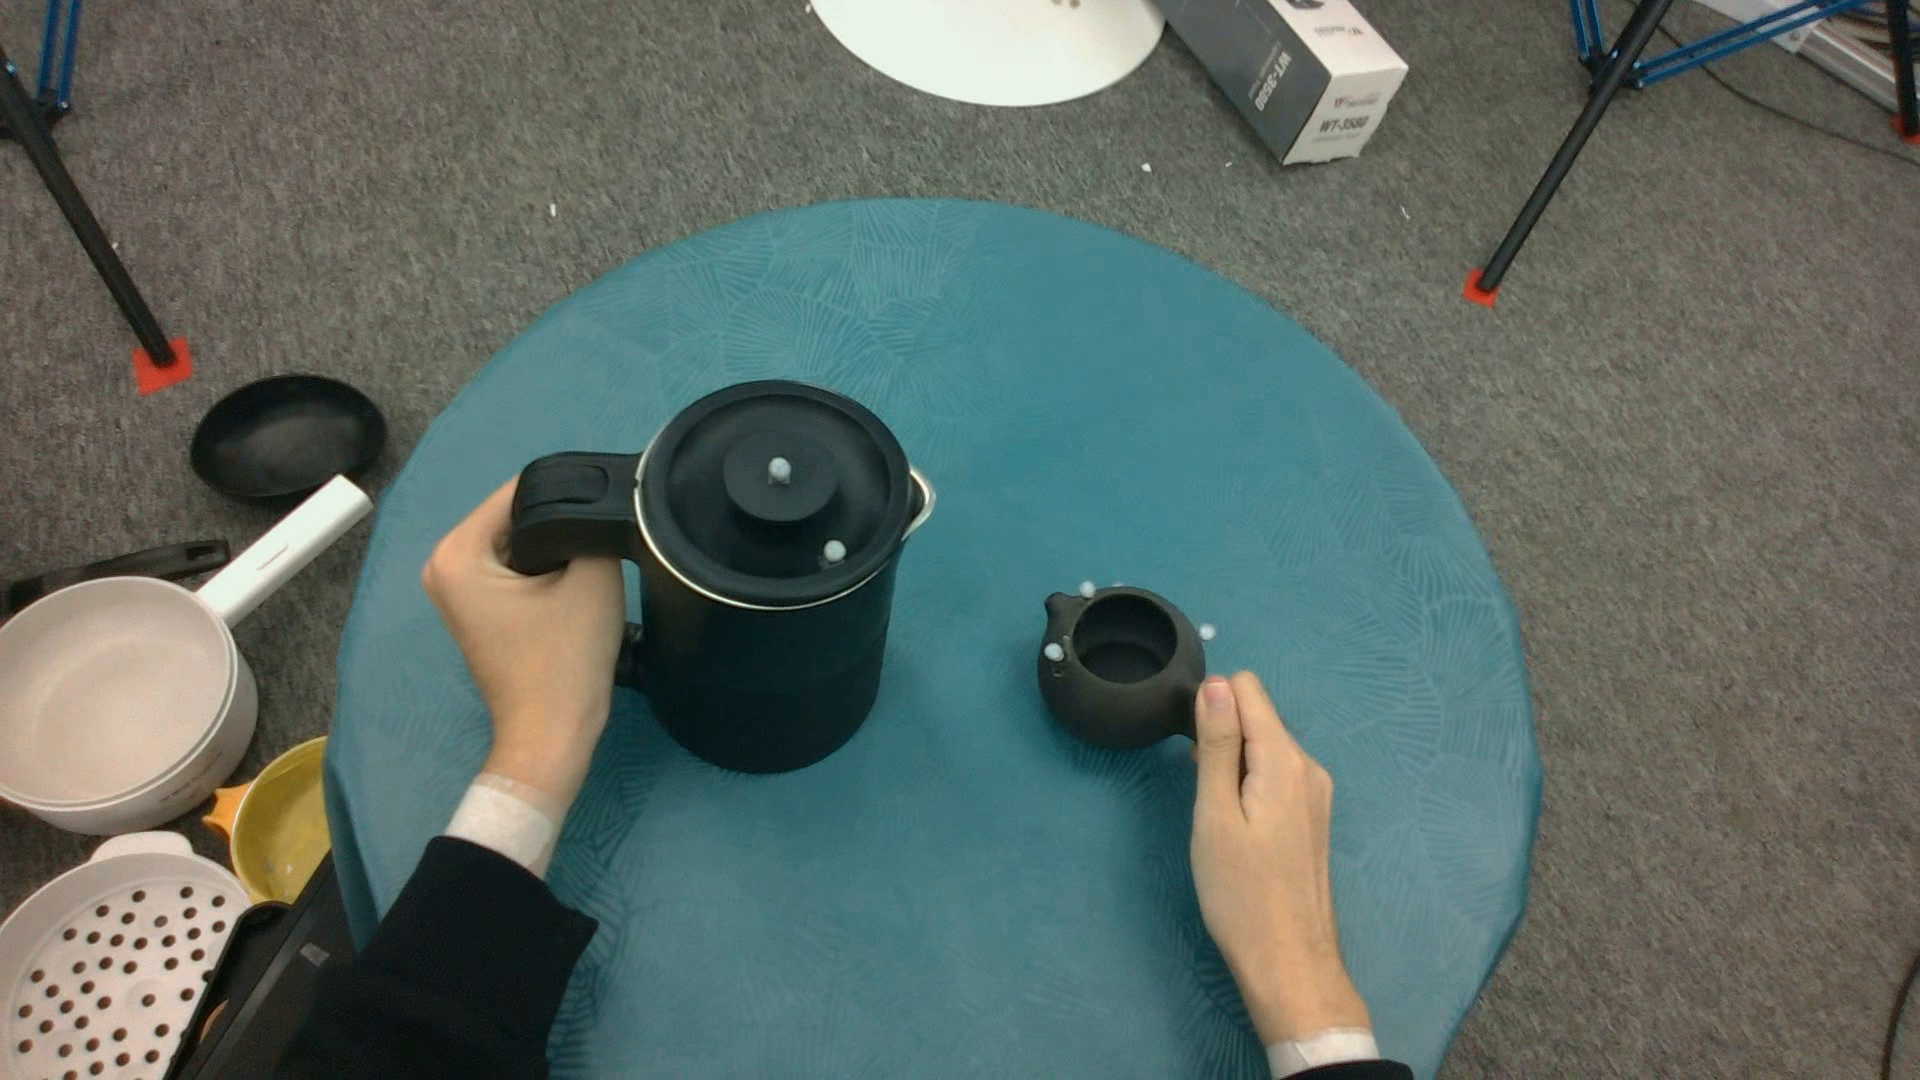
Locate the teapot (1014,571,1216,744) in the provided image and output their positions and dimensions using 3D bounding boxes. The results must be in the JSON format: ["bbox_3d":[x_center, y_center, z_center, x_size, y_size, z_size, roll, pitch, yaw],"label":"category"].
[{"bbox_3d":[0.076,0.060,0.663,0.114,0.053,0.083,35,63,29],"label":"teapot"}]

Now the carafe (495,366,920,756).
[{"bbox_3d":[-0.113,0.011,0.600,0.172,0.172,0.115,2,60,-11],"label":"carafe"}]
